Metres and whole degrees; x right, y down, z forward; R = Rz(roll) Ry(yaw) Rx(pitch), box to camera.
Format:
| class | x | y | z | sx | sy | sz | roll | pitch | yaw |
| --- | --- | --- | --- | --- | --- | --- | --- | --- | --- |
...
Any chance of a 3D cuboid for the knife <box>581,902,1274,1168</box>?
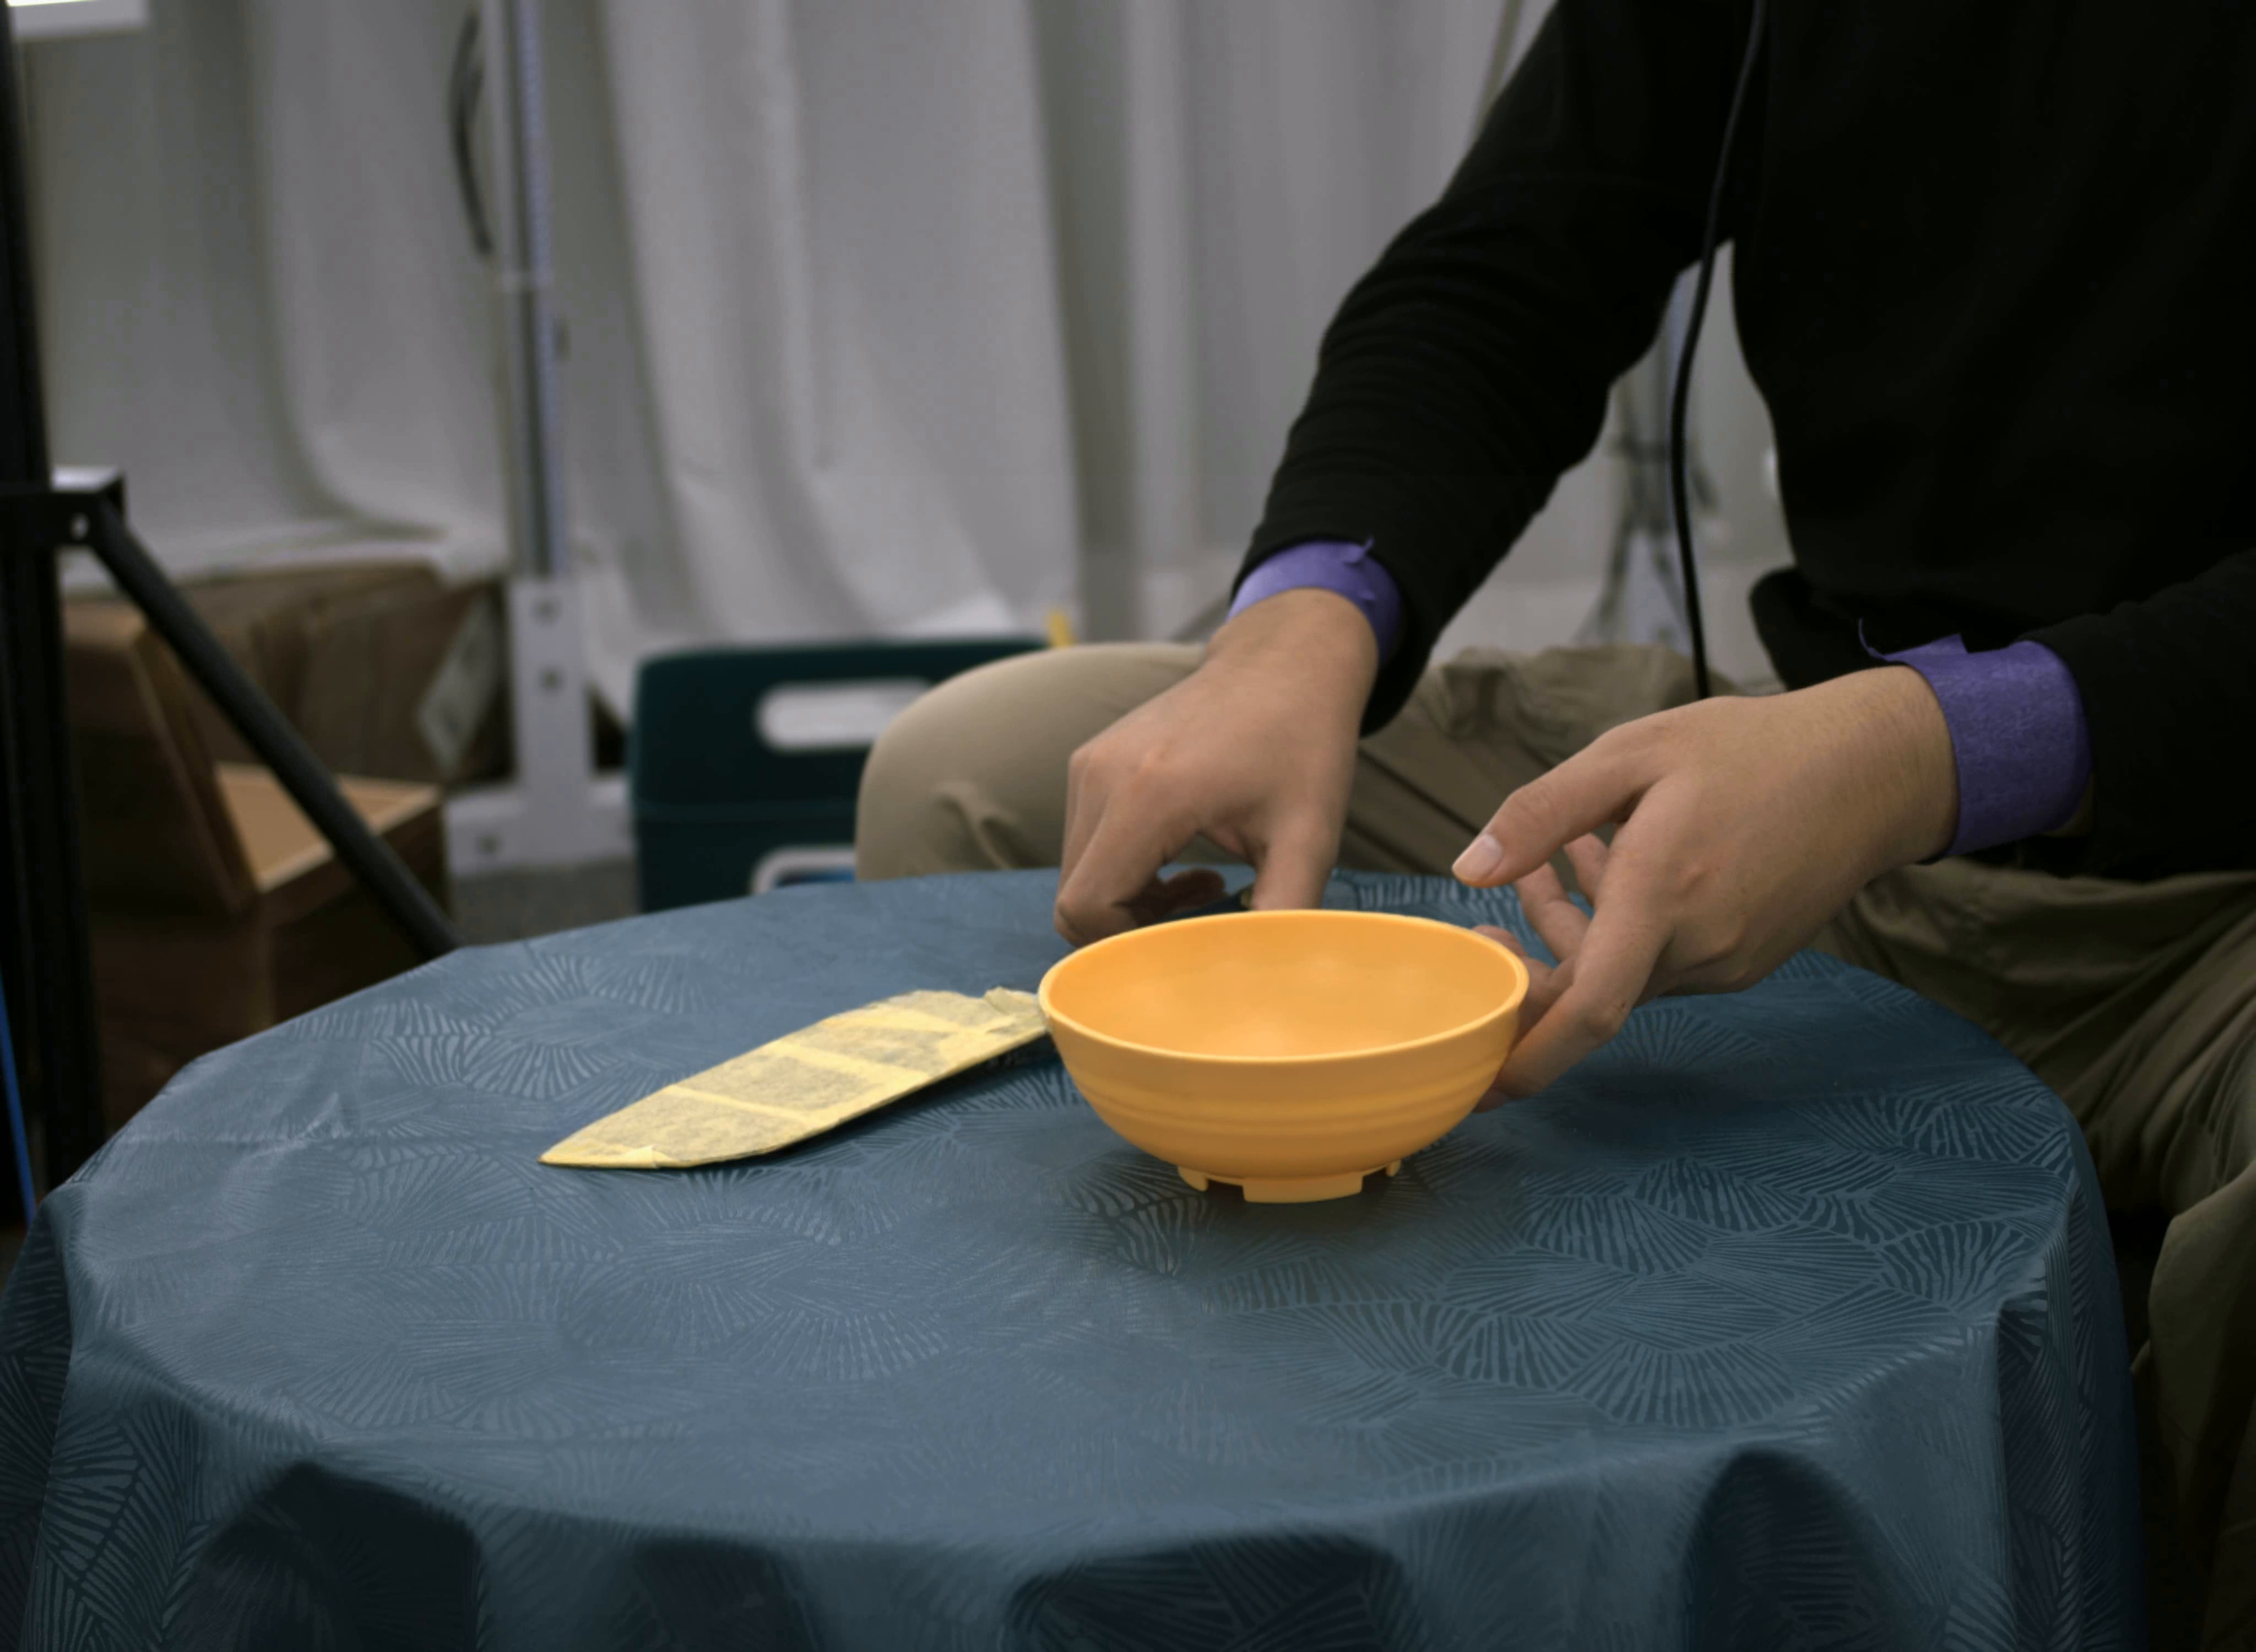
| class | x | y | z | sx | sy | sz | roll | pitch | yaw |
| --- | --- | --- | --- | --- | --- | --- | --- | --- | --- |
| knife | -0.059 | 0.066 | 1.687 | 0.283 | 0.027 | 0.083 | -18 | 23 | -40 |

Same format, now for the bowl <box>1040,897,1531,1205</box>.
| class | x | y | z | sx | sy | sz | roll | pitch | yaw |
| --- | --- | --- | --- | --- | --- | --- | --- | --- | --- |
| bowl | 0.046 | 0.072 | 1.565 | 0.144 | 0.060 | 0.146 | -1 | 18 | -1 |
